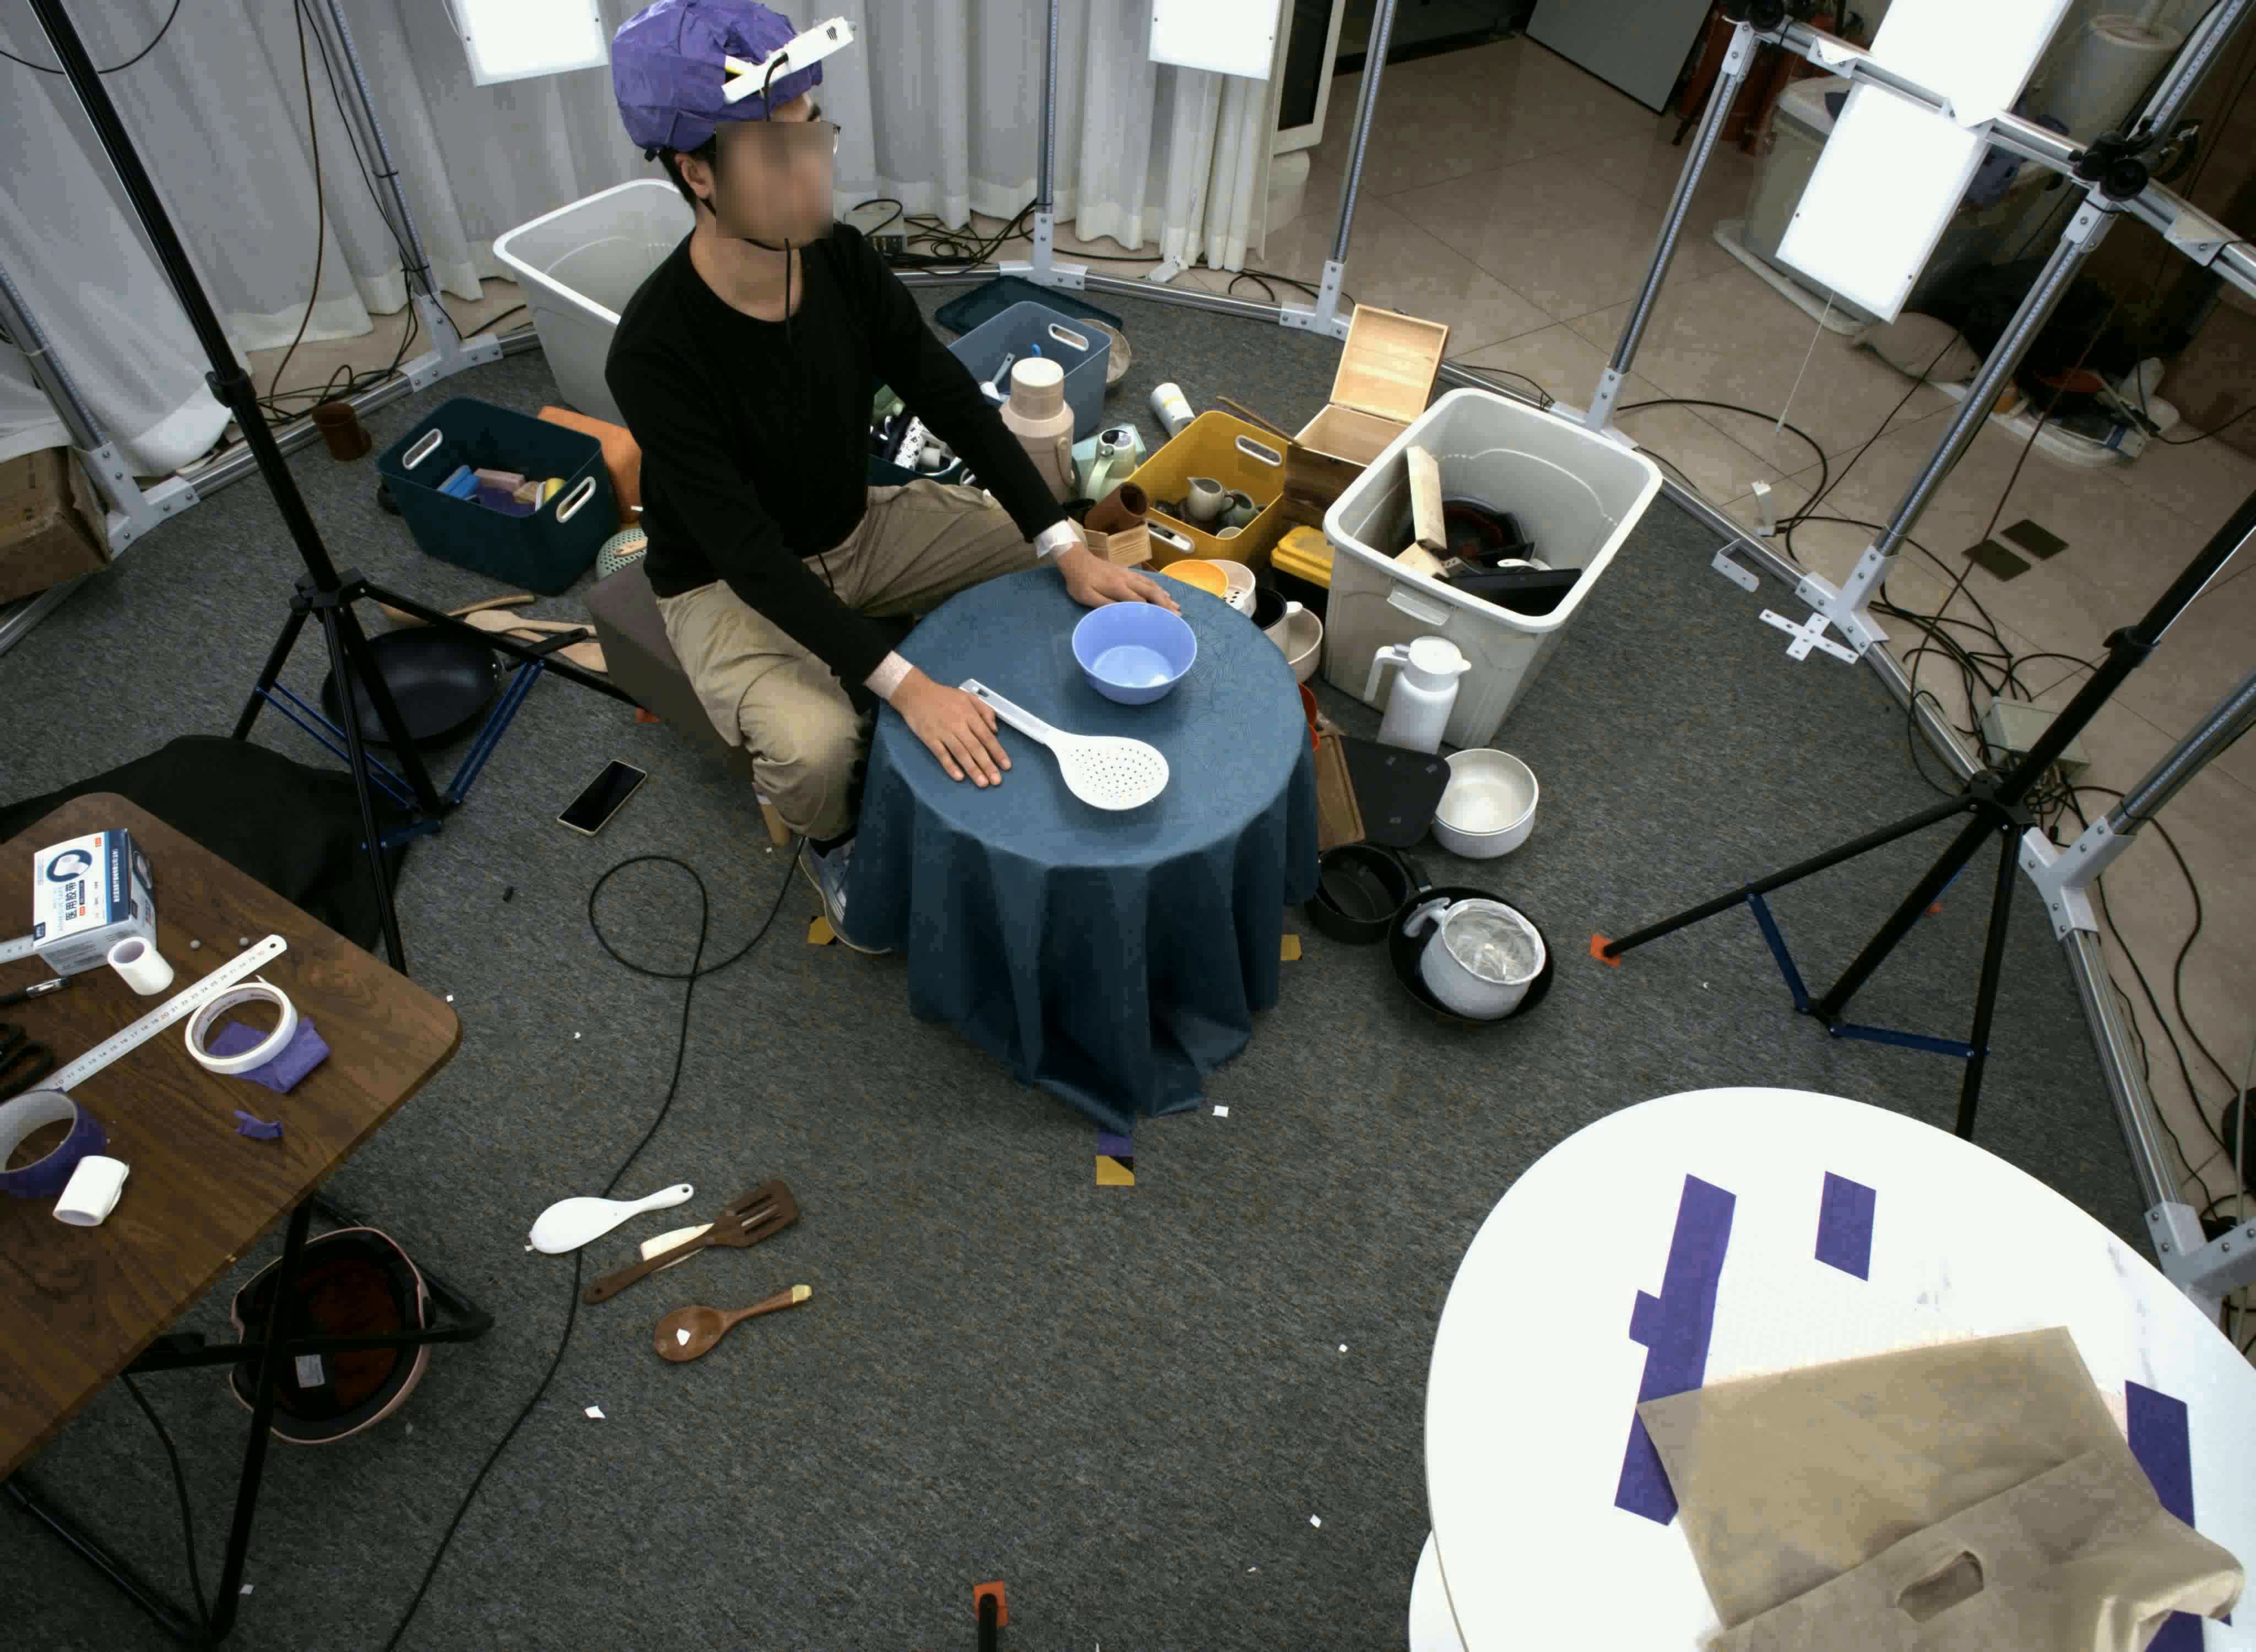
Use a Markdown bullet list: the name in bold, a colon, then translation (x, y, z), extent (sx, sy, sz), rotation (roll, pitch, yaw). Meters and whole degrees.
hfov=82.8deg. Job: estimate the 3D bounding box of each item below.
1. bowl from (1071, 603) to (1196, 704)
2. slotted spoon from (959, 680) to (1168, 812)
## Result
- **bowl**: translation (0.007, -0.238, 1.832), extent (0.176, 0.068, 0.180), rotation (1, 49, -2)
- **slotted spoon**: translation (-0.099, -0.115, 1.734), extent (0.354, 0.044, 0.137), rotation (34, 55, 24)
